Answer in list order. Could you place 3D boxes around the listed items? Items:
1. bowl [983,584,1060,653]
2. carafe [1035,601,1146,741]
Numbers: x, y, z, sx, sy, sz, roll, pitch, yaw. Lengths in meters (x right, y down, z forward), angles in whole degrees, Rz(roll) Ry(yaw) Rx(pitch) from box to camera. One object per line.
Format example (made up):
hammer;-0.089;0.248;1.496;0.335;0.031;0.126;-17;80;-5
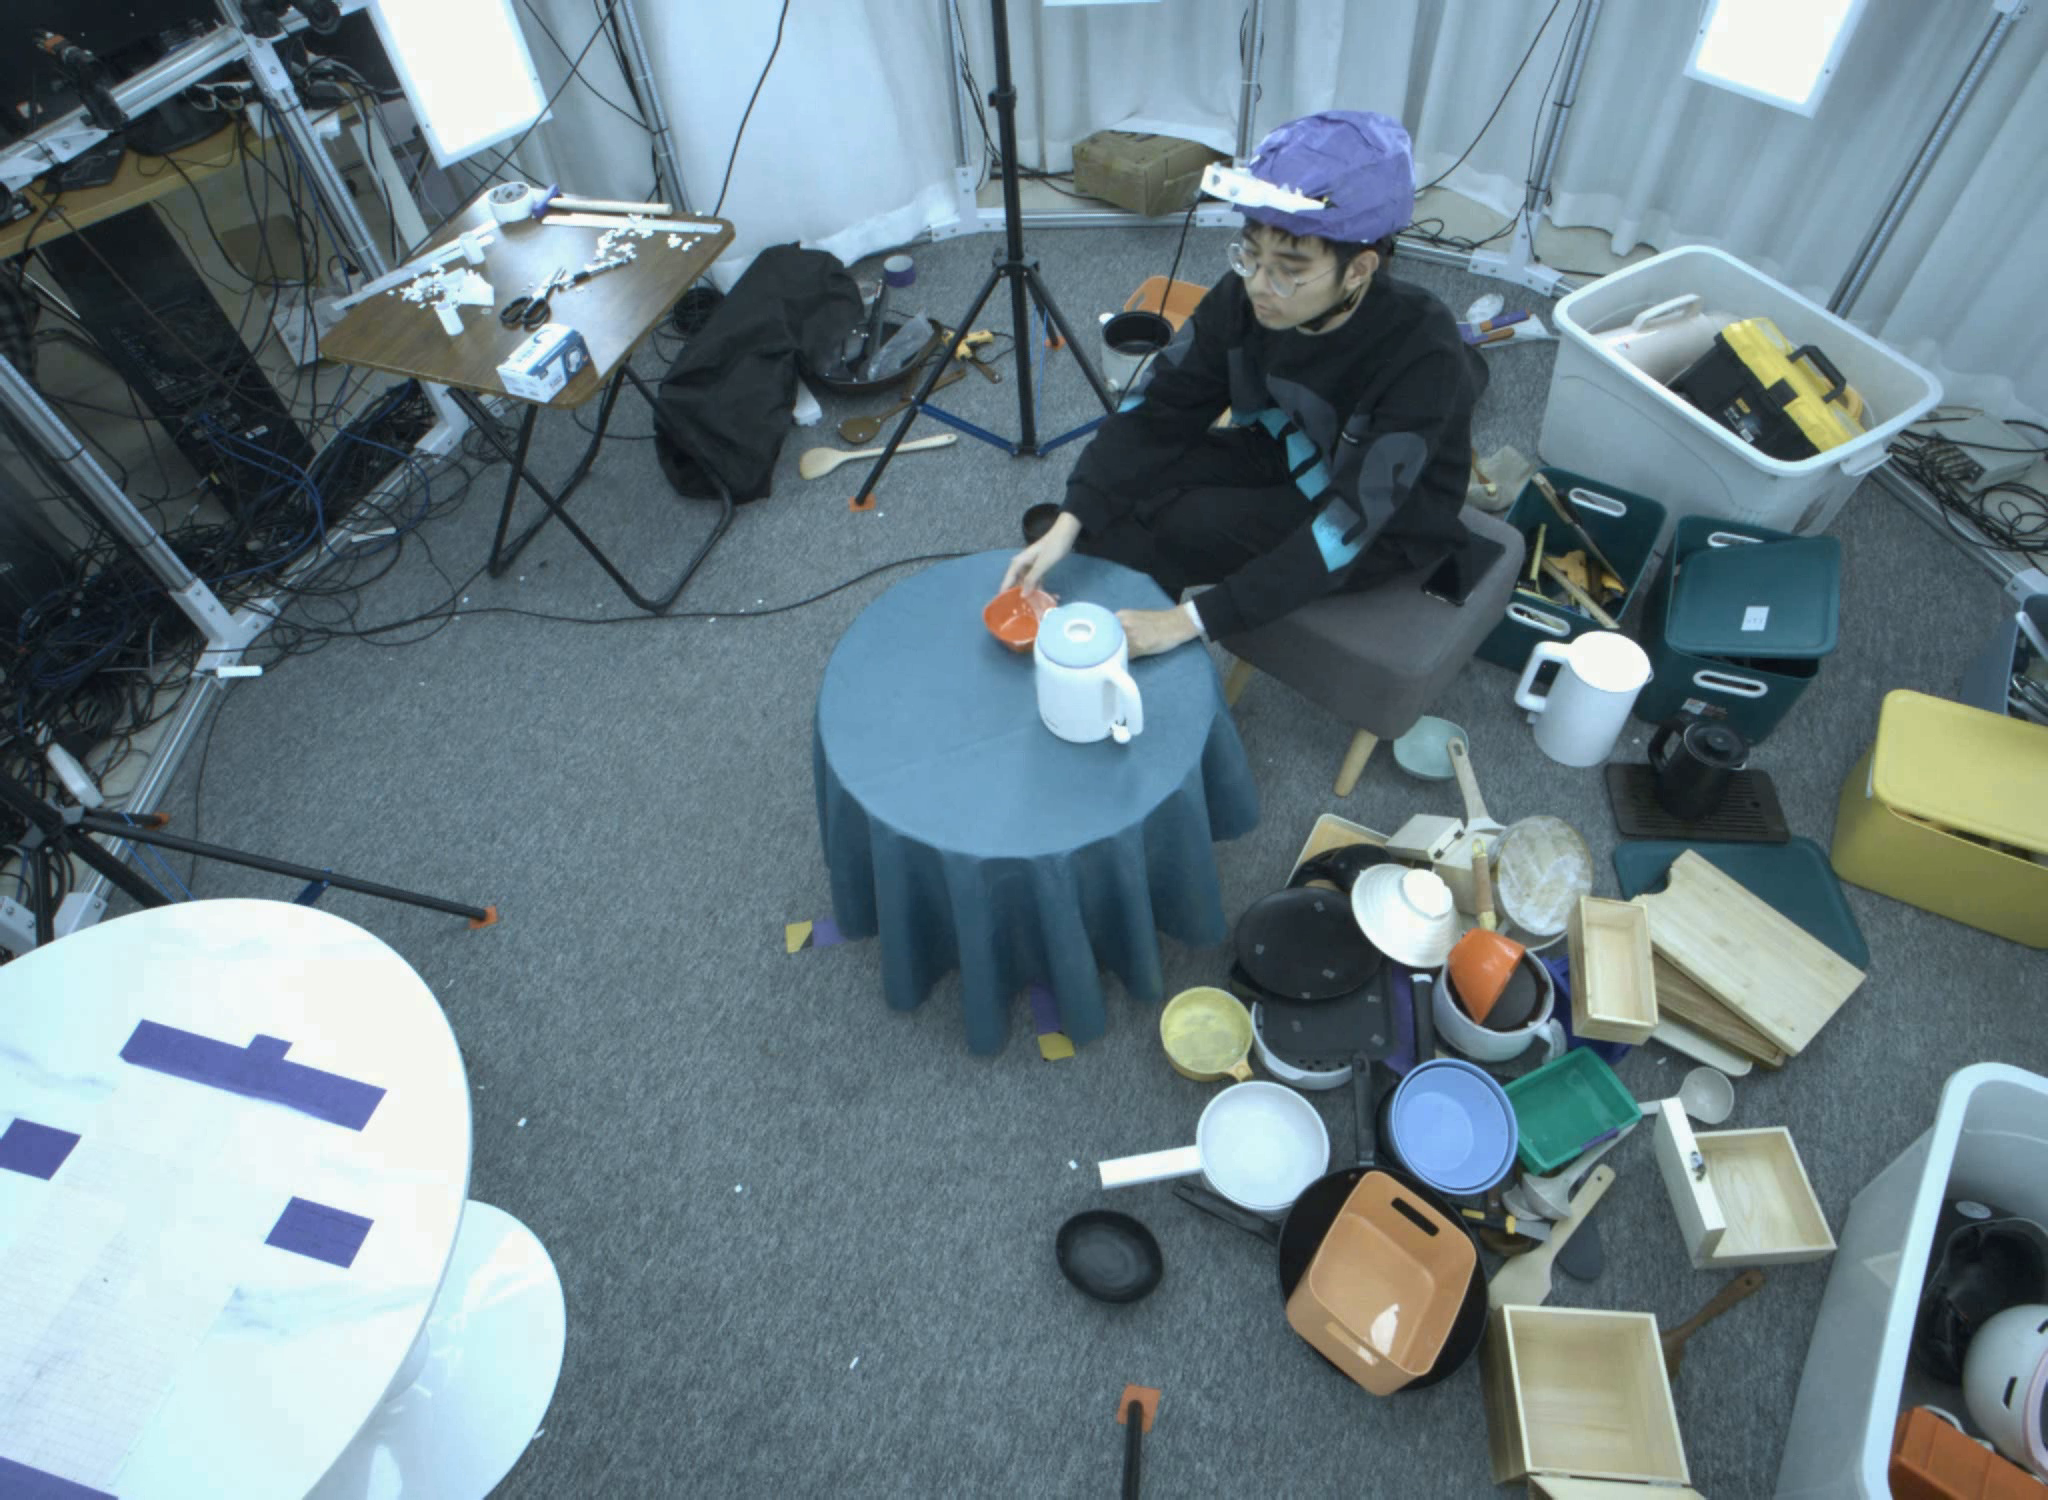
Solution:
bowl;-0.002;-0.195;1.888;0.118;0.052;0.117;-2;54;4
carafe;0.100;-0.097;1.743;0.133;0.184;0.188;-40;64;-21
